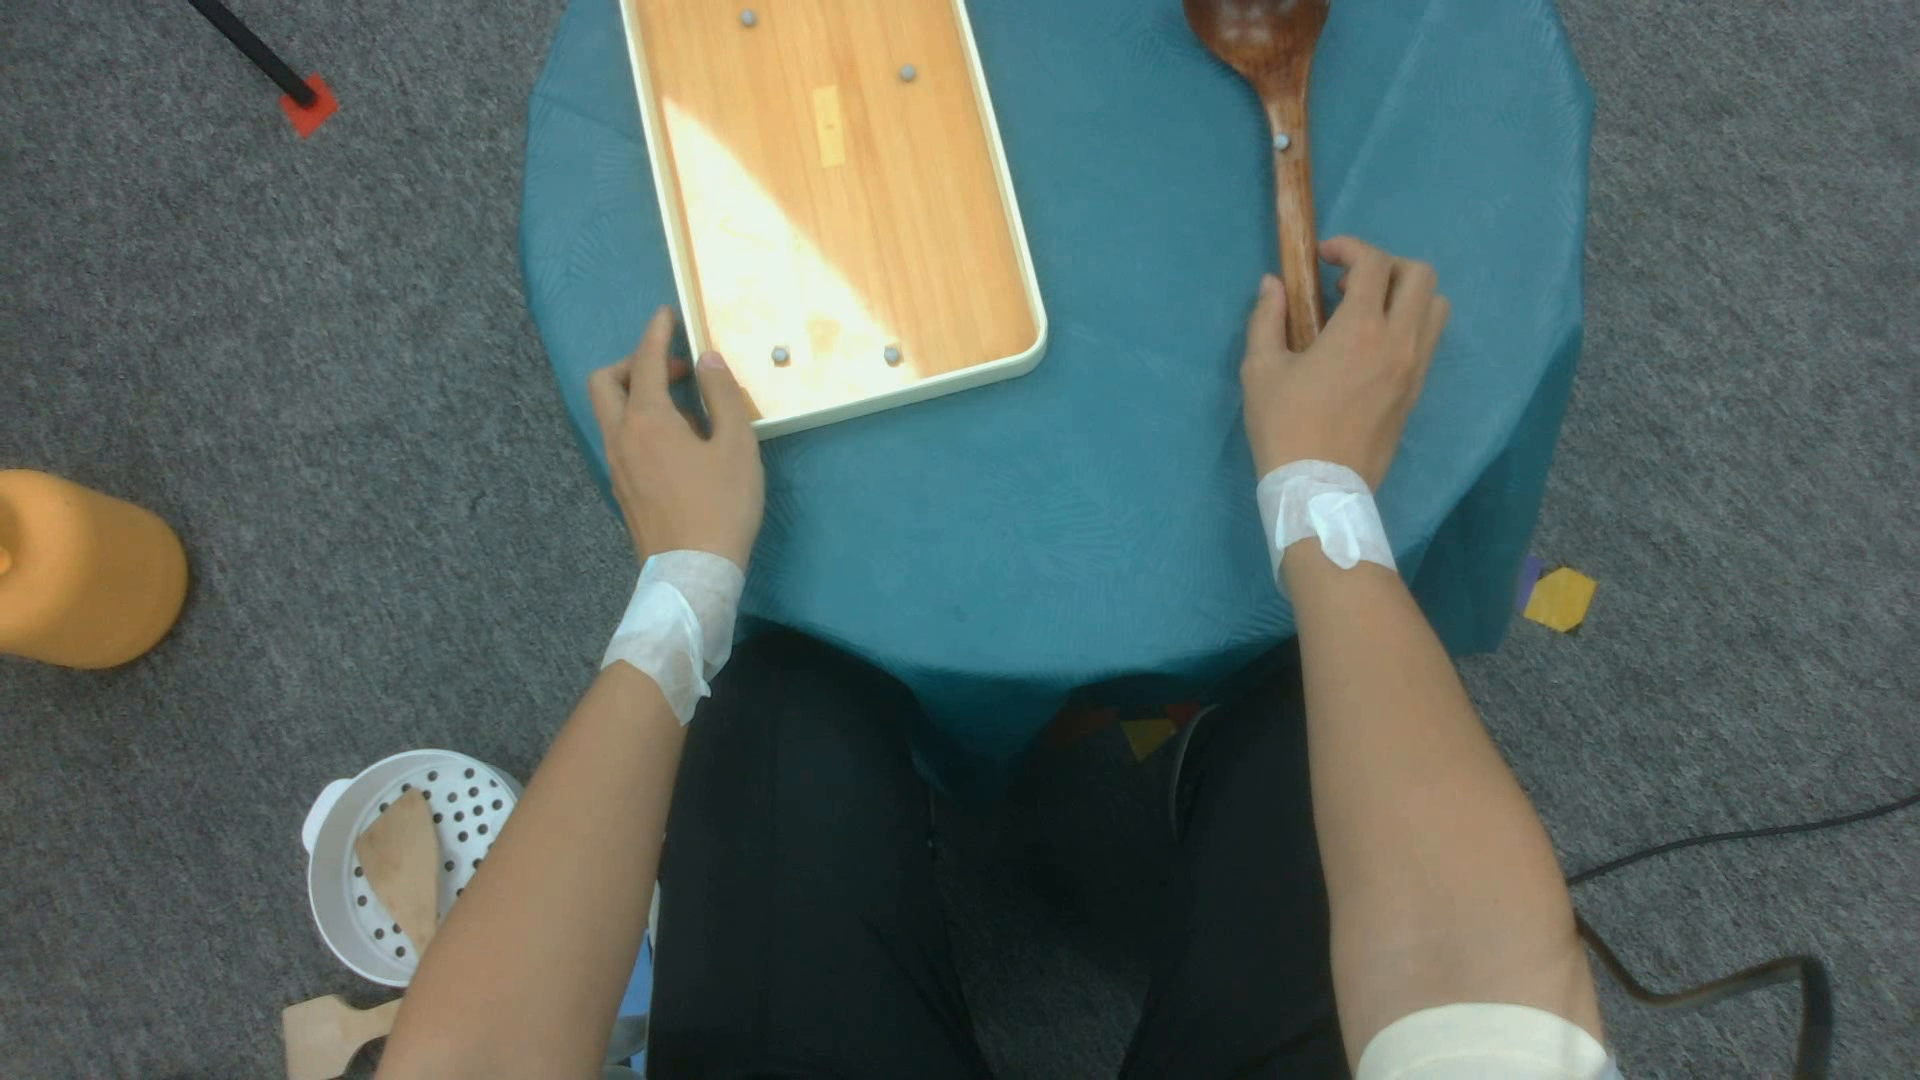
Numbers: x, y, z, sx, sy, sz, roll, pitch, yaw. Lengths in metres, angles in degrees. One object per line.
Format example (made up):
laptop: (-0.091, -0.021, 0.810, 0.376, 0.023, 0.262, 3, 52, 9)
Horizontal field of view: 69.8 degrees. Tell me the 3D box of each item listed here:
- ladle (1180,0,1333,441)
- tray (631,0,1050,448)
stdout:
ladle: (0.167, -0.193, 0.741, 0.081, 0.077, 0.274, -13, 73, 43)
tray: (-0.072, -0.213, 0.789, 0.191, 0.027, 0.301, -14, 75, 2)
